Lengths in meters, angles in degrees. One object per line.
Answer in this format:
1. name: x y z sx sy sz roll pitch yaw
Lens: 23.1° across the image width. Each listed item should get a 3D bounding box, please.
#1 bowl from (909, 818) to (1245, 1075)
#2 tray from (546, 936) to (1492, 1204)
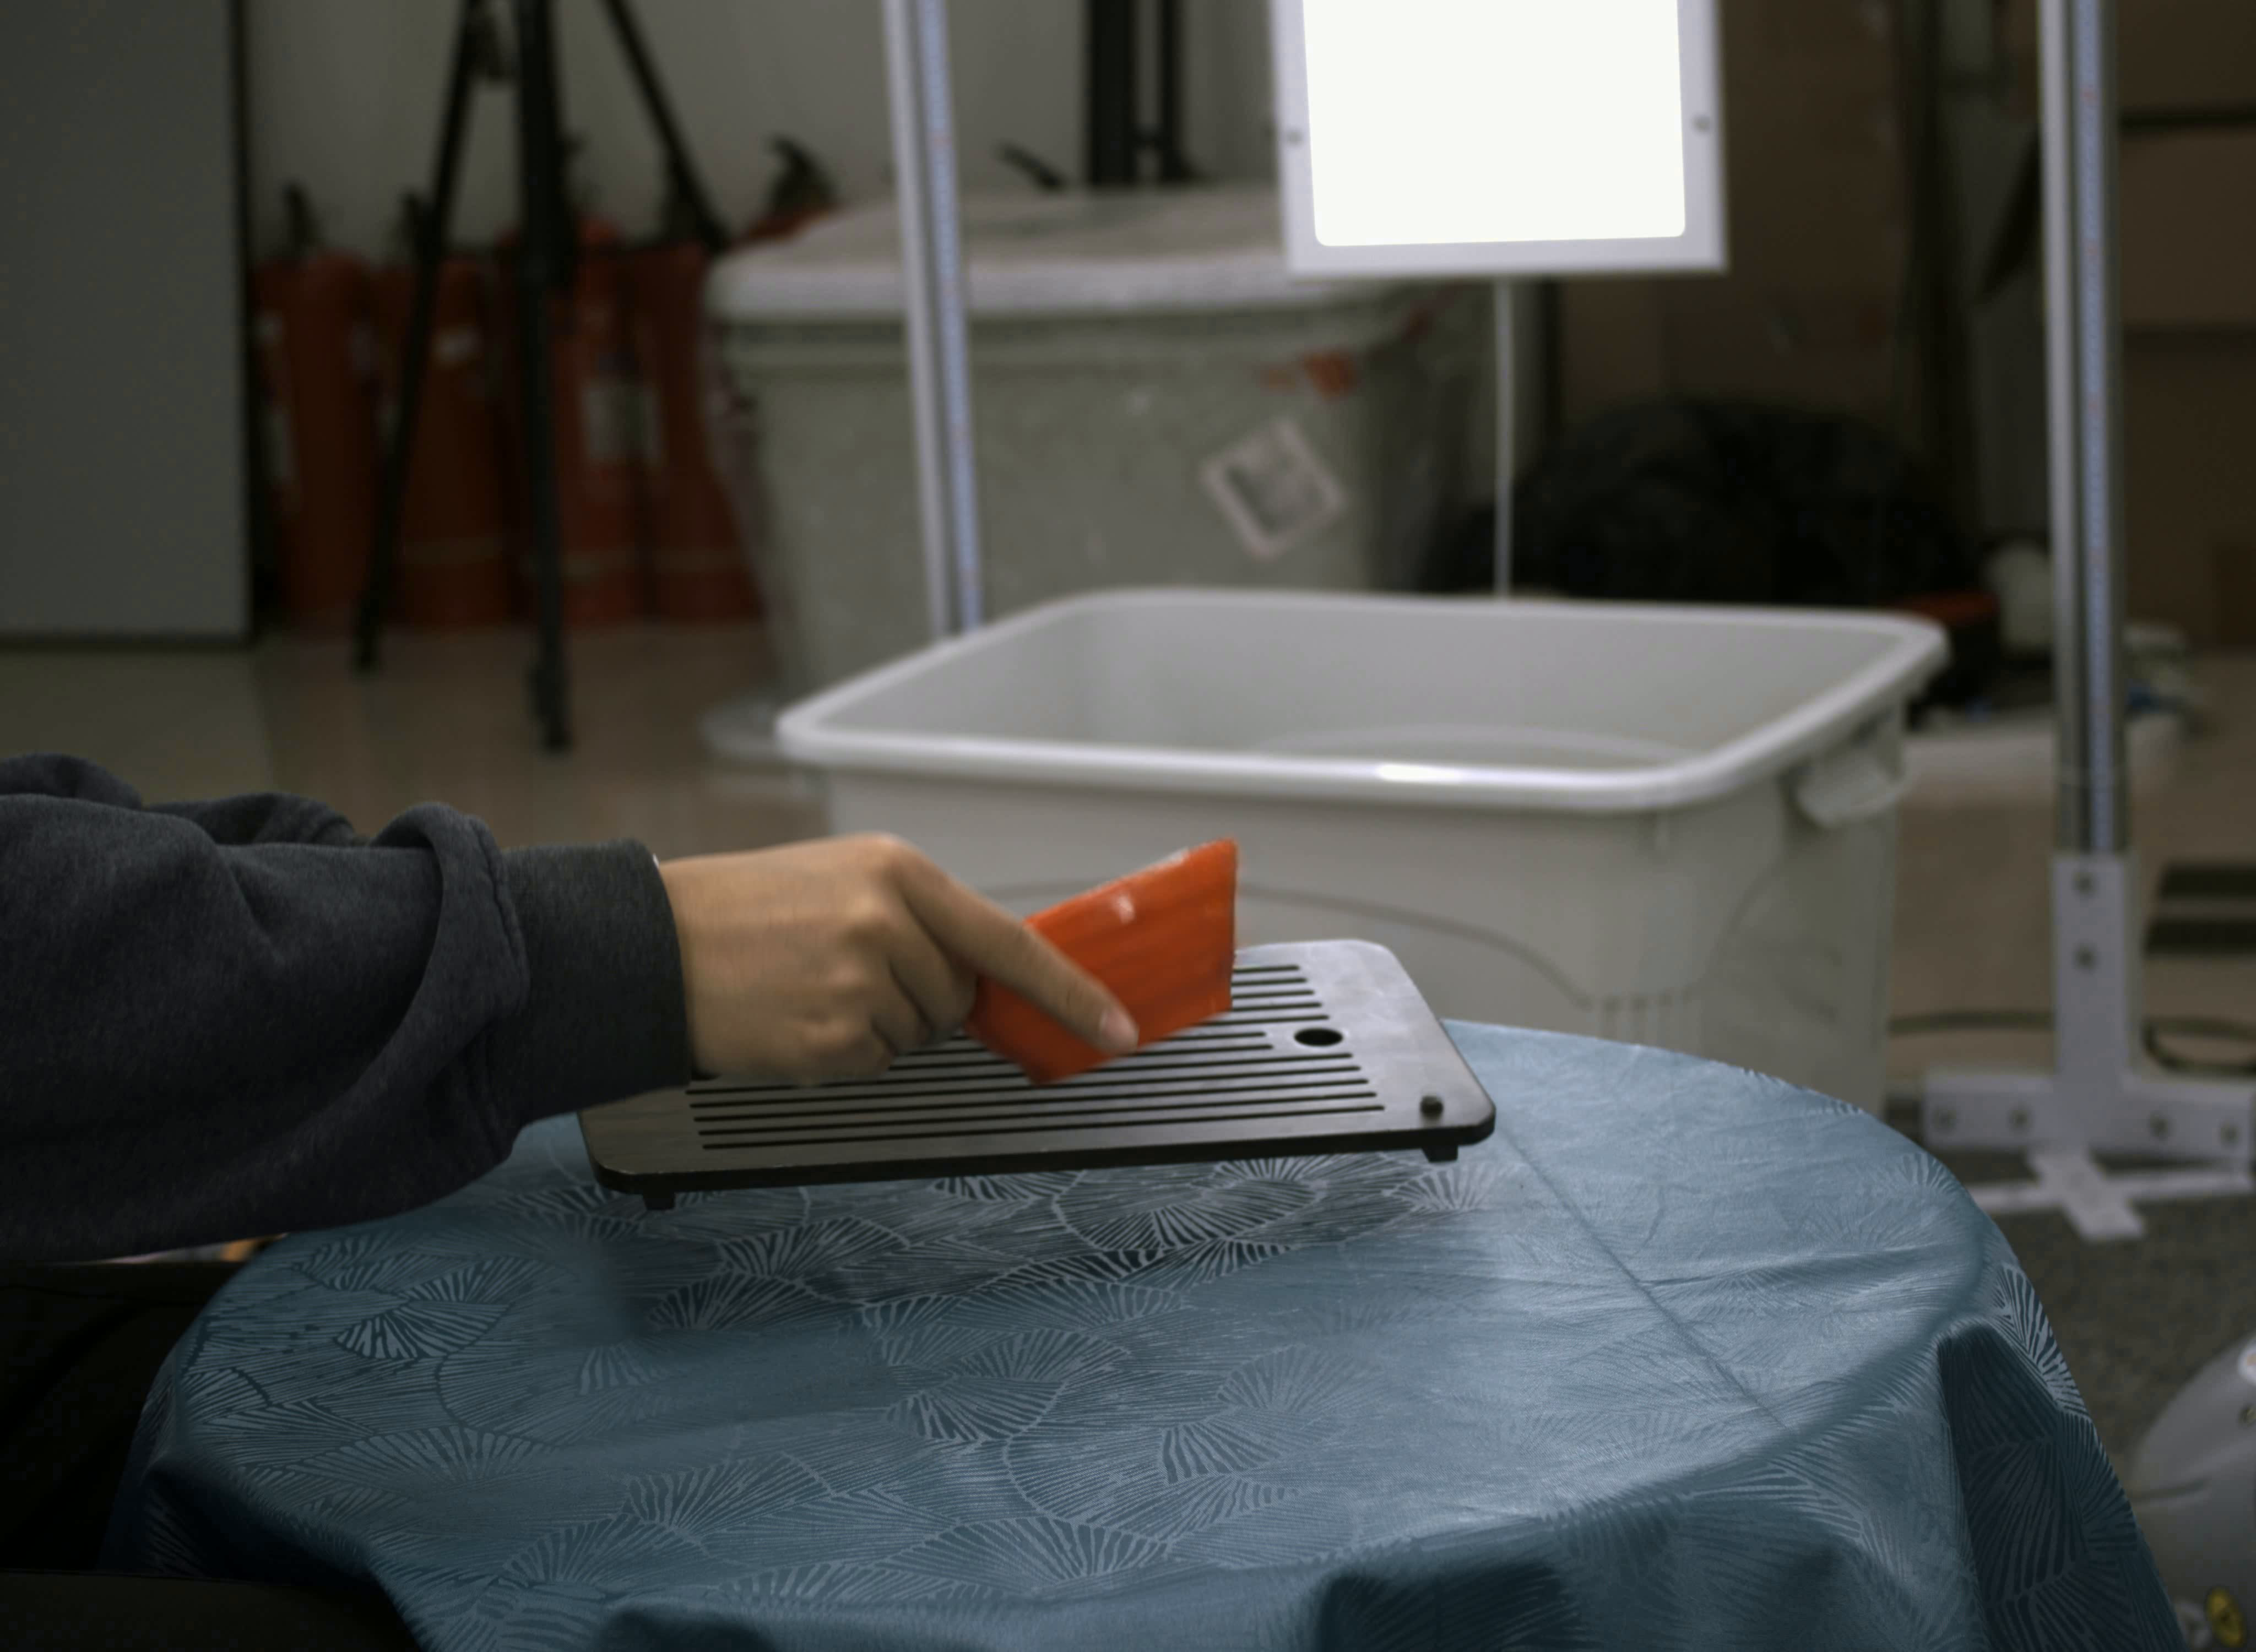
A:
1. bowl: -0.009 0.042 1.722 0.118 0.051 0.119 -23 0 -2
2. tray: -0.040 0.083 1.884 0.303 0.019 0.171 -3 21 -9
